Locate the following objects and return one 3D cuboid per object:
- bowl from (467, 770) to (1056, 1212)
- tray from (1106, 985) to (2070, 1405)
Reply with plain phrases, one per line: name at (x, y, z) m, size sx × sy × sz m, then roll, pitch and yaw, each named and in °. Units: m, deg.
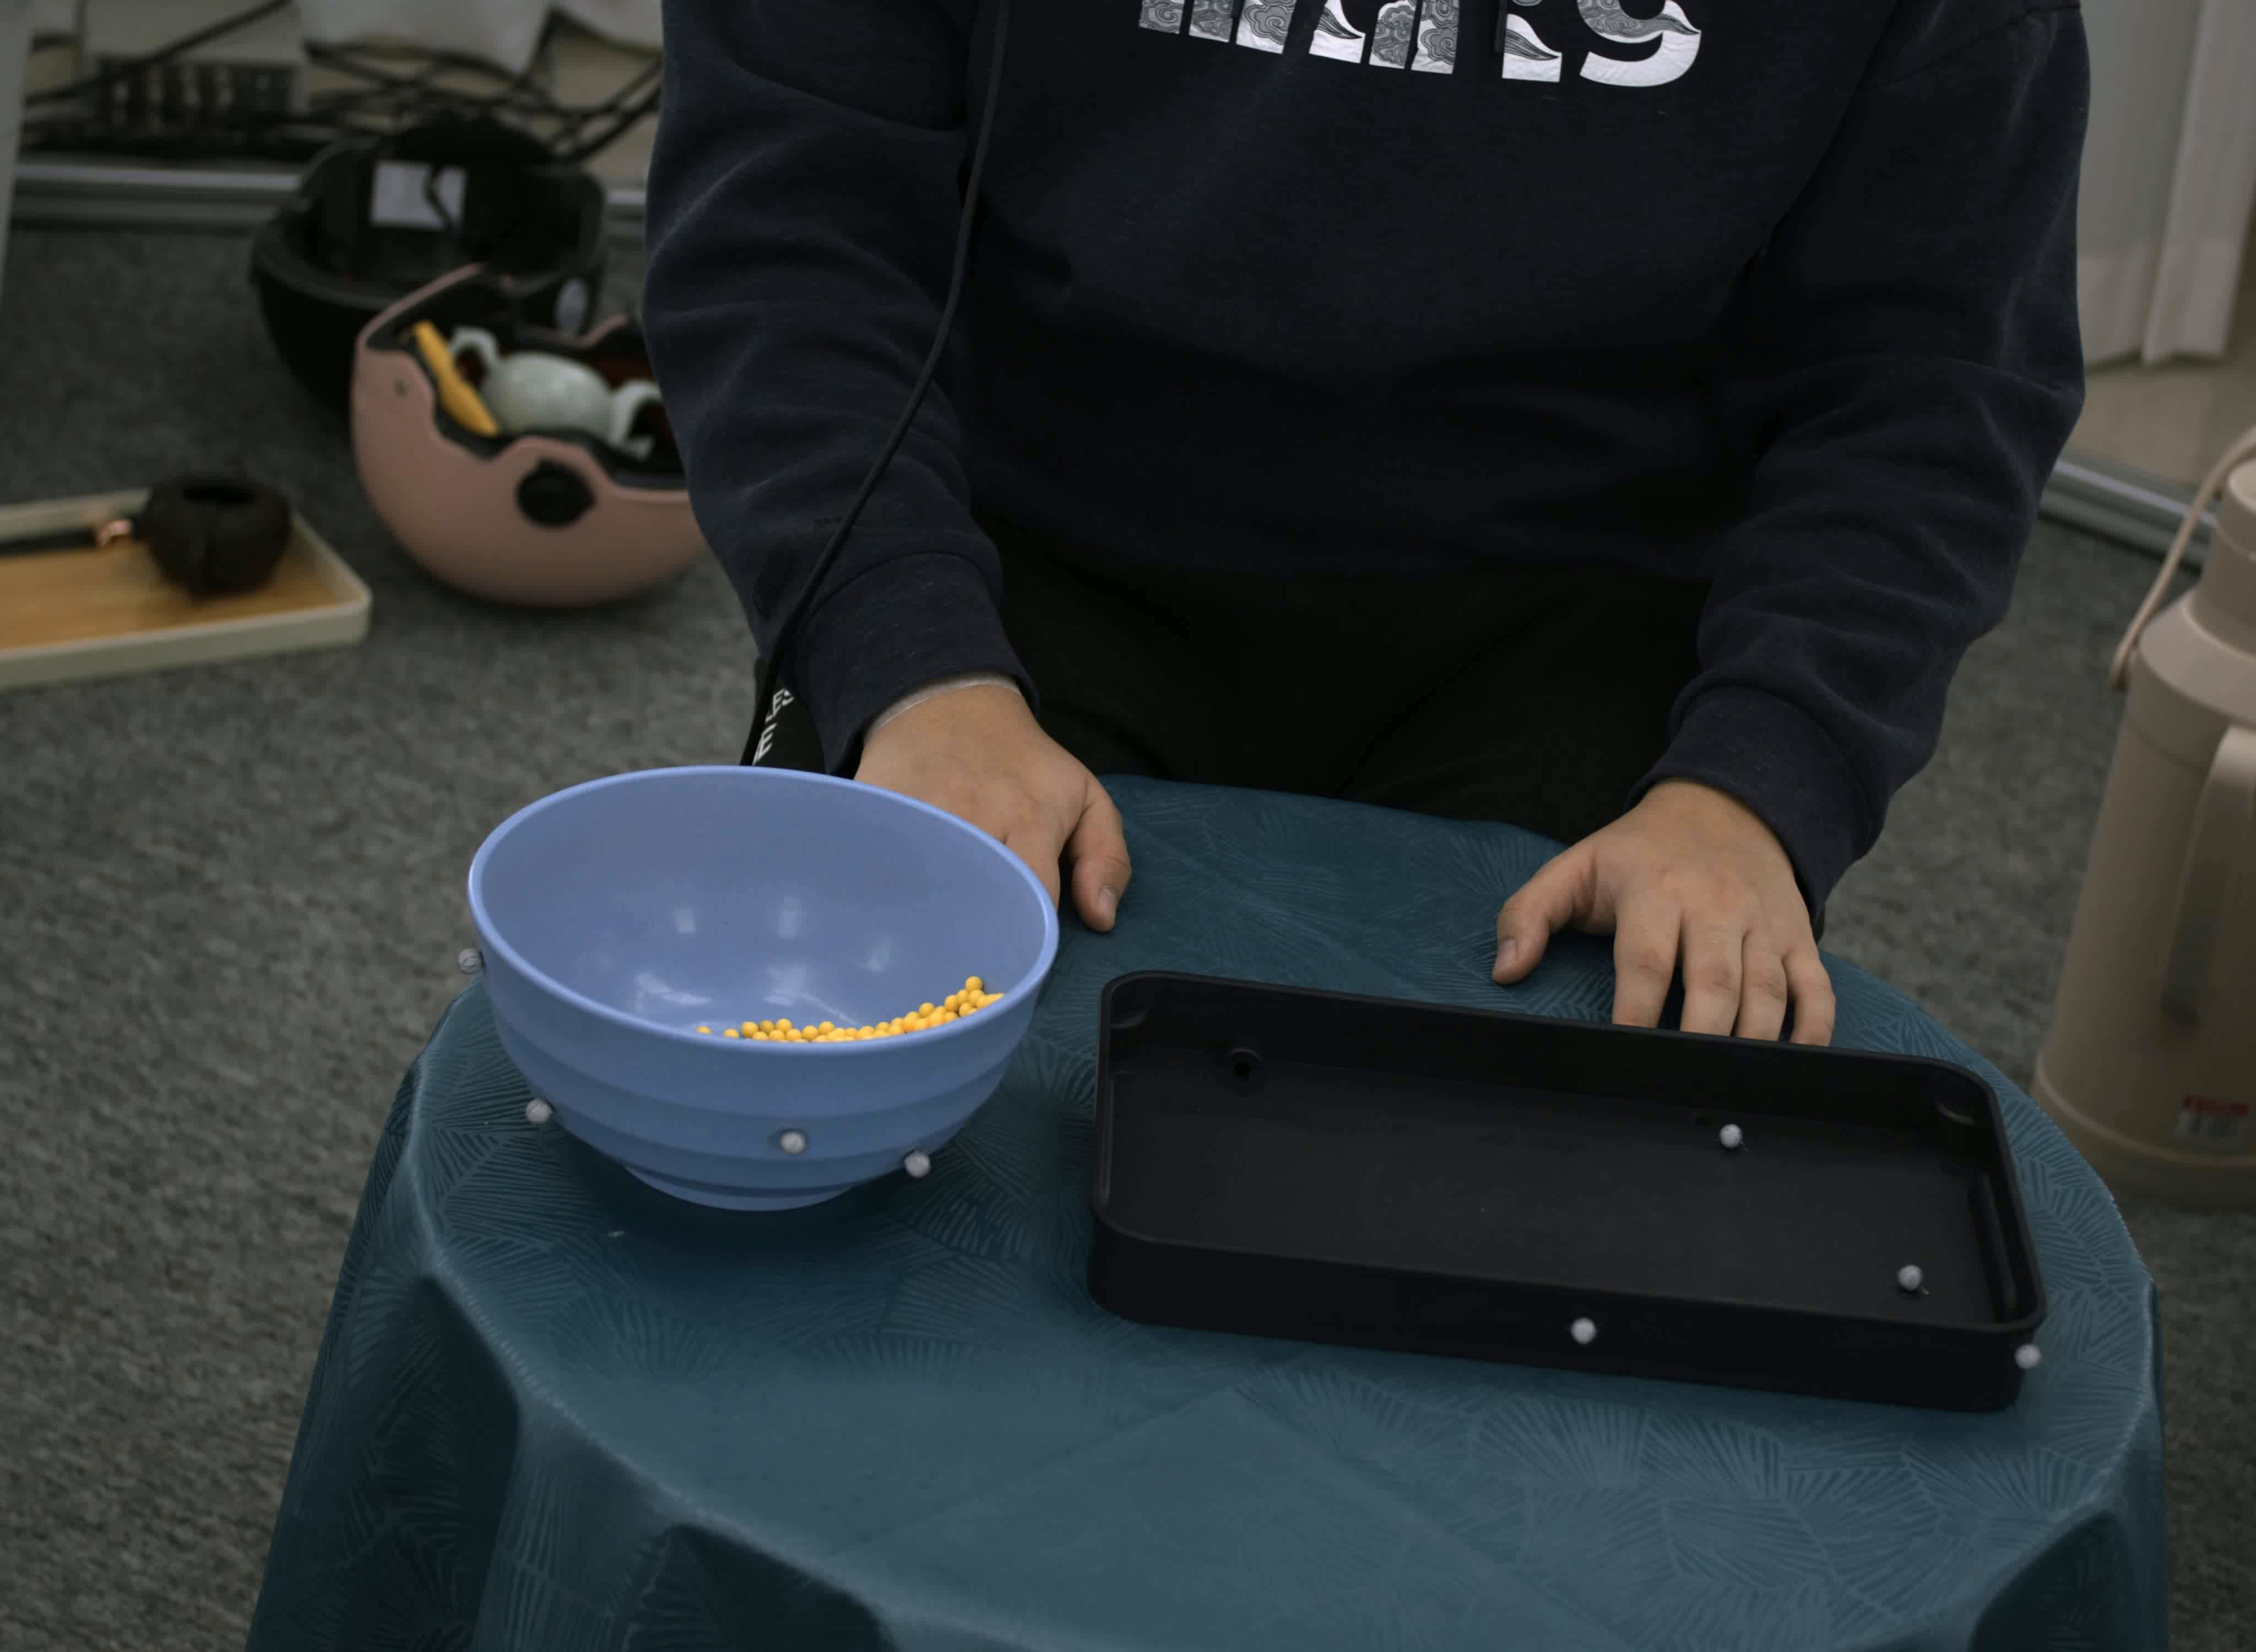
bowl at (-0.125, 0.066, 1.787) m, size 0.196 × 0.095 × 0.197 m, roll 5°, pitch 27°, yaw -3°
tray at (0.149, 0.123, 1.806) m, size 0.317 × 0.037 × 0.185 m, roll 5°, pitch 26°, yaw -2°
